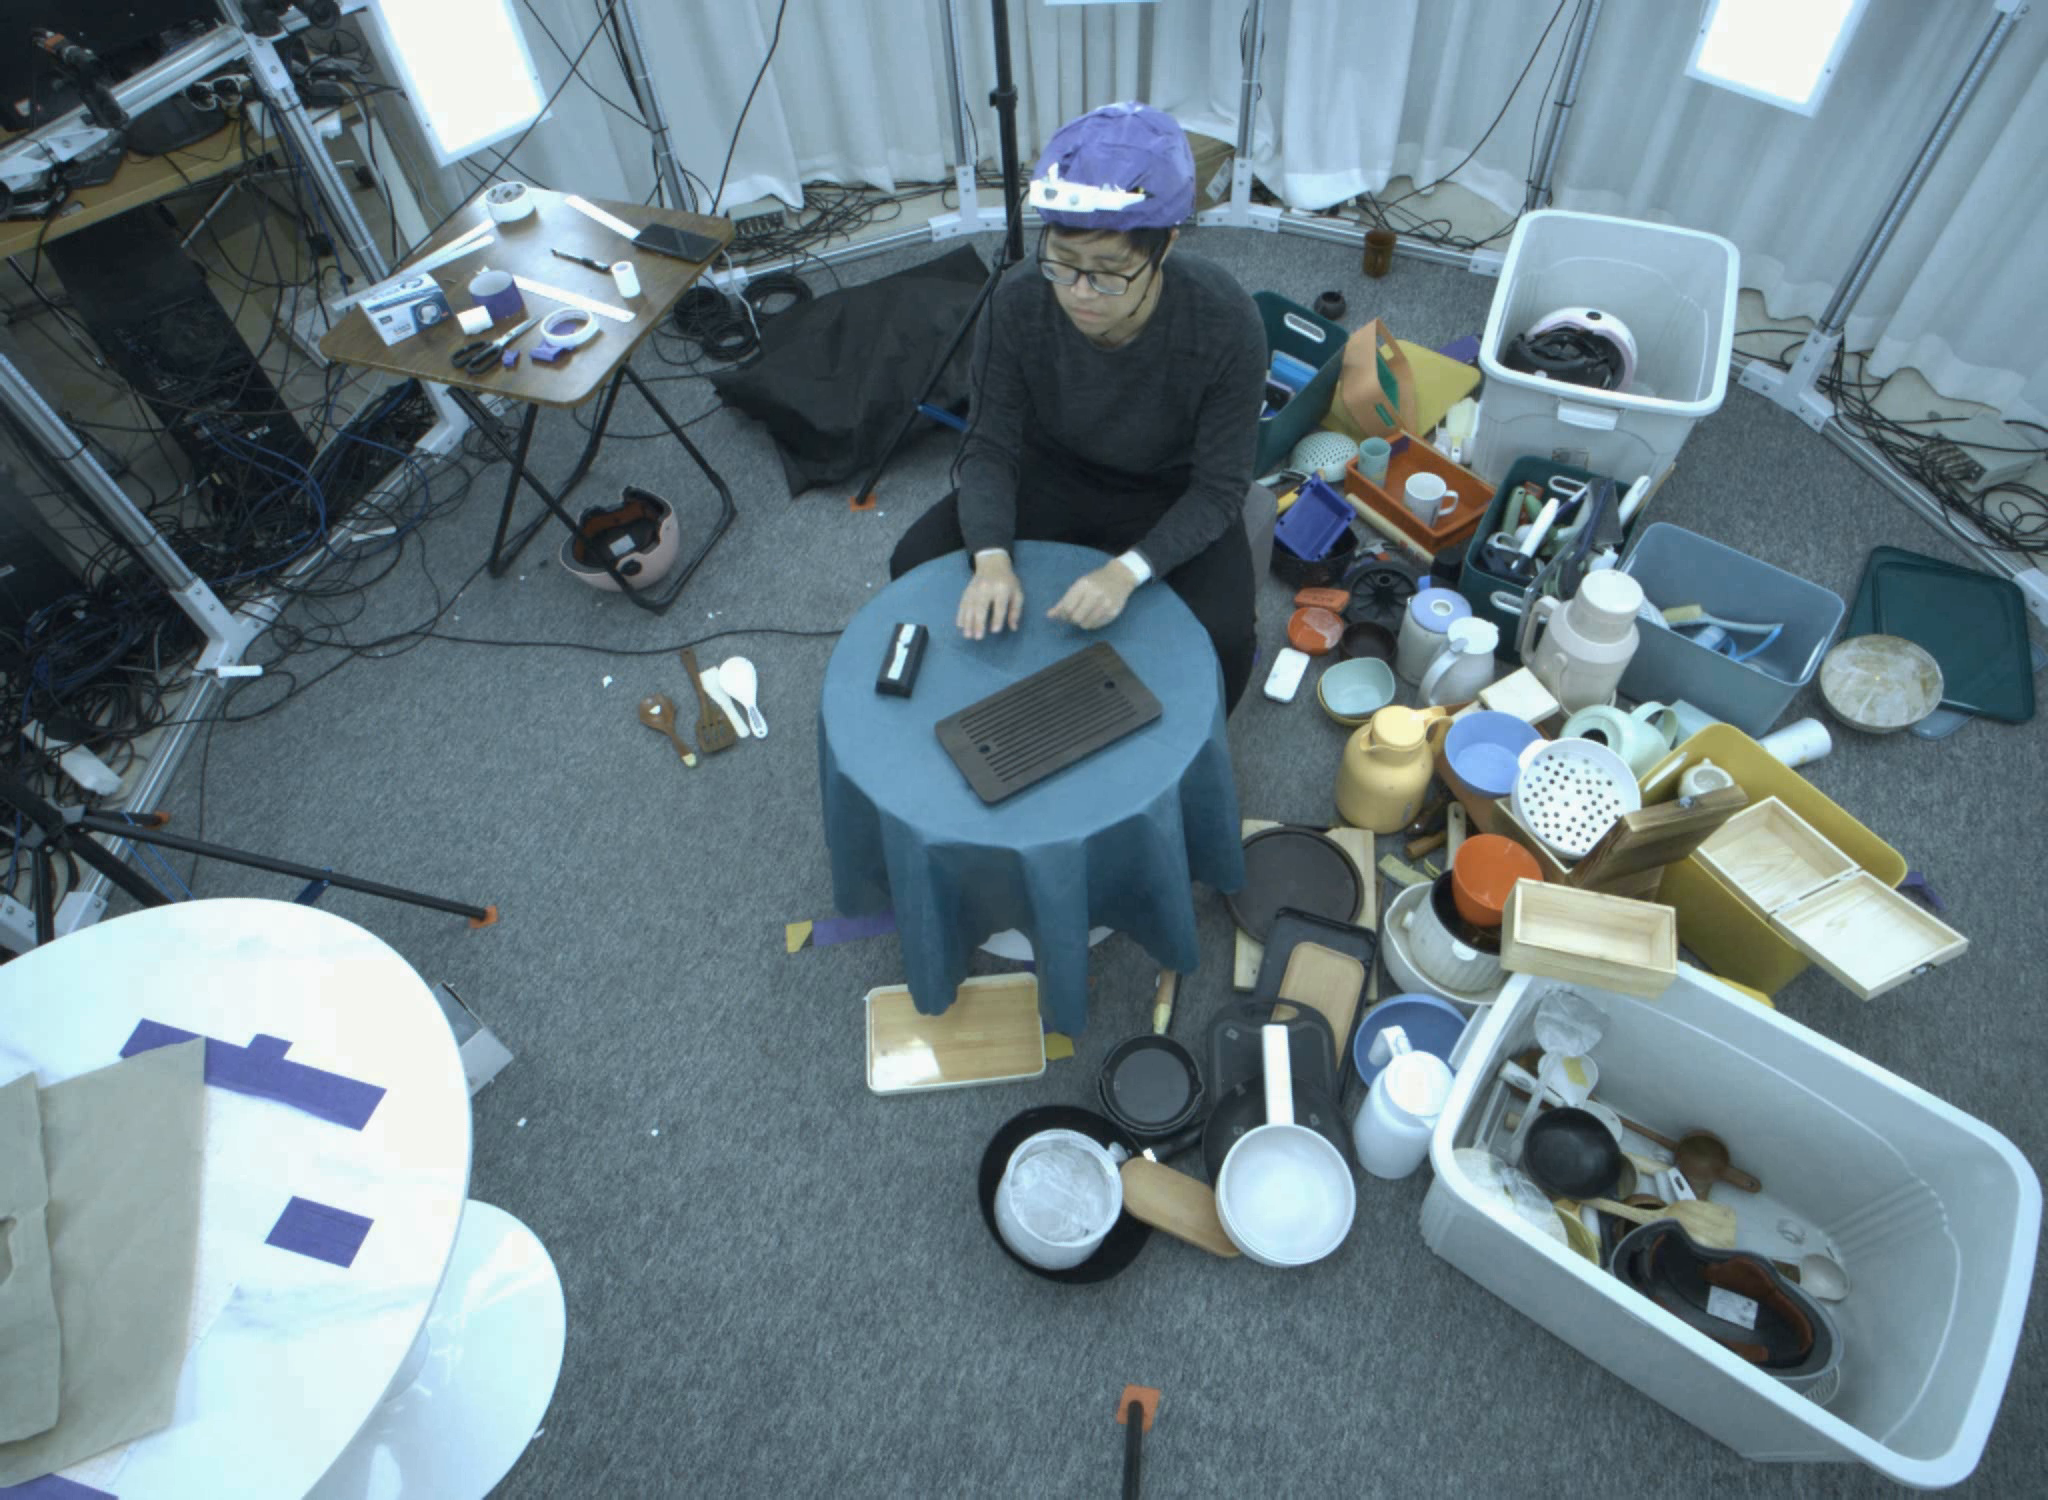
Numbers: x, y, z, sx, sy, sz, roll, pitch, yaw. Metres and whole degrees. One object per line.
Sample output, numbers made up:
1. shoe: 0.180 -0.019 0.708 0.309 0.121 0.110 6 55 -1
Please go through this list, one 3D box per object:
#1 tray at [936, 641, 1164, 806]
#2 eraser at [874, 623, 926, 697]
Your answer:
1. tray: 0.038 -0.041 1.805 0.308 0.019 0.167 -27 58 -16
2. eraser: -0.188 -0.139 1.875 0.053 0.031 0.125 8 54 5
